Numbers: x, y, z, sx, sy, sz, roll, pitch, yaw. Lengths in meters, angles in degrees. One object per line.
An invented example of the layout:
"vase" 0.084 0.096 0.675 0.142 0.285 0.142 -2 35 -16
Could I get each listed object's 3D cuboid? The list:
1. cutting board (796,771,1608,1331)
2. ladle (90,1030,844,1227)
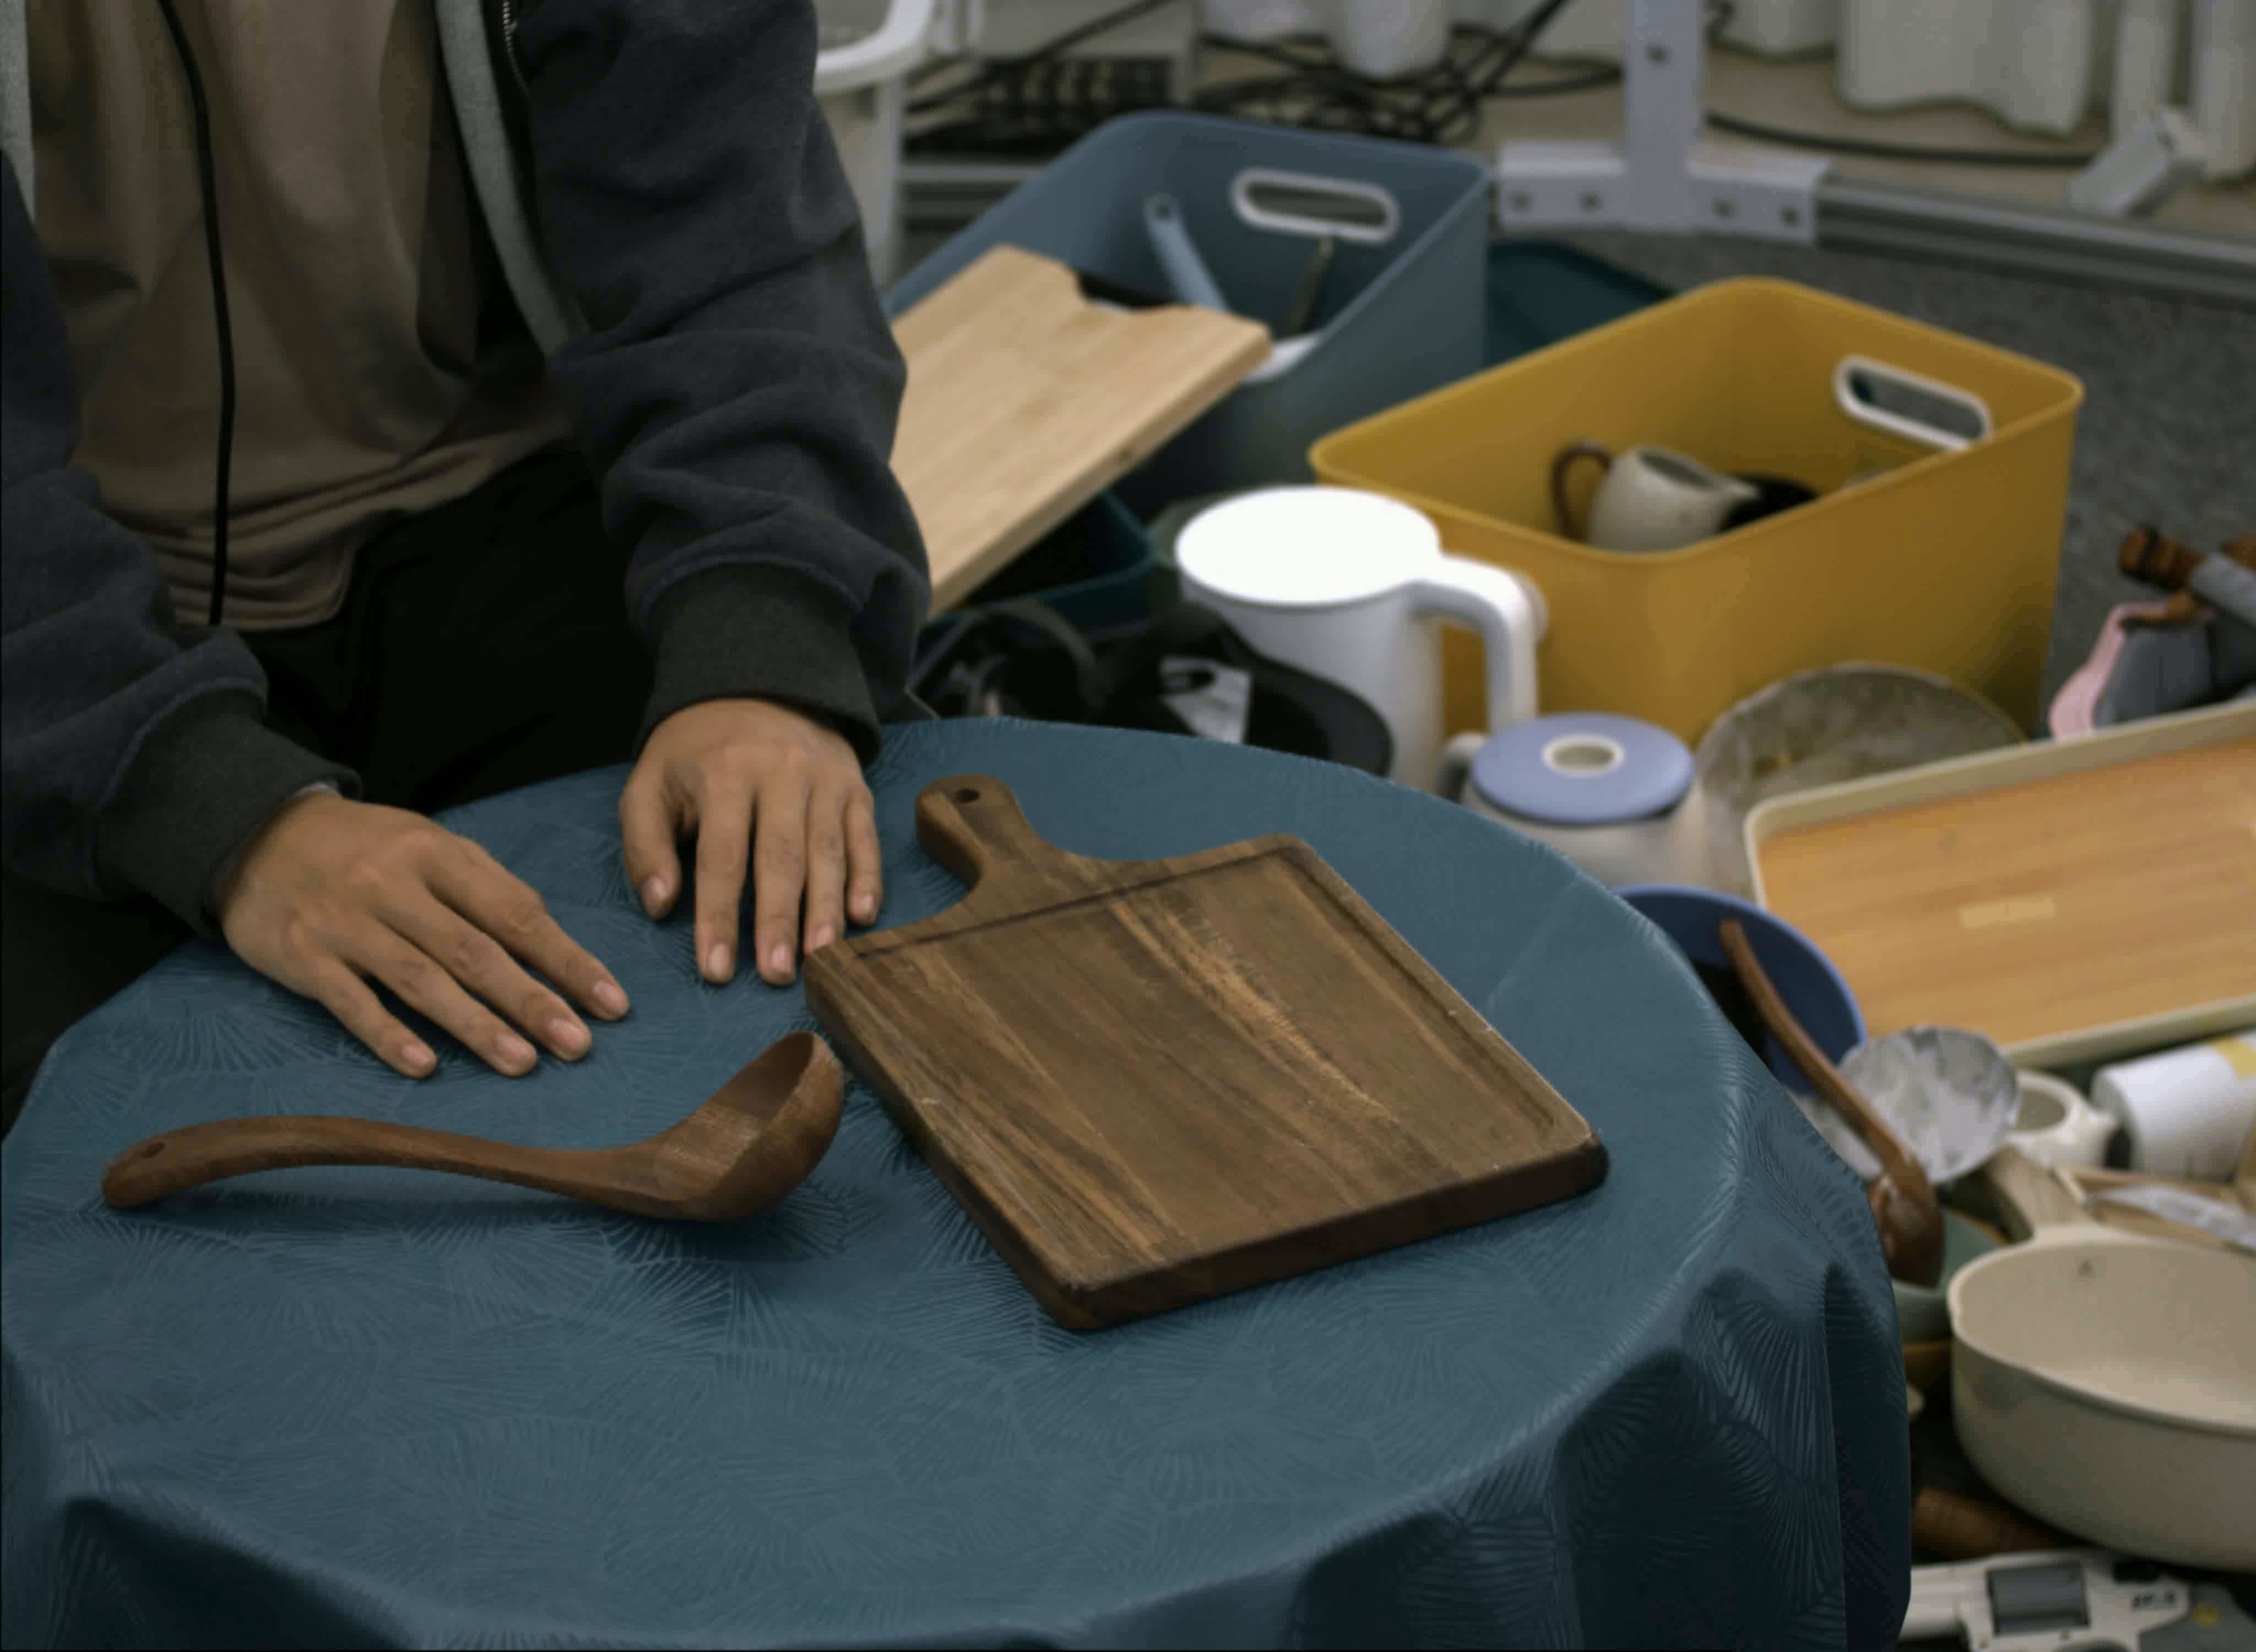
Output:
"cutting board" 0.001 0.061 1.954 0.202 0.023 0.354 -12 29 -20
"ladle" -0.221 0.099 1.858 0.258 0.064 0.077 1 23 8
